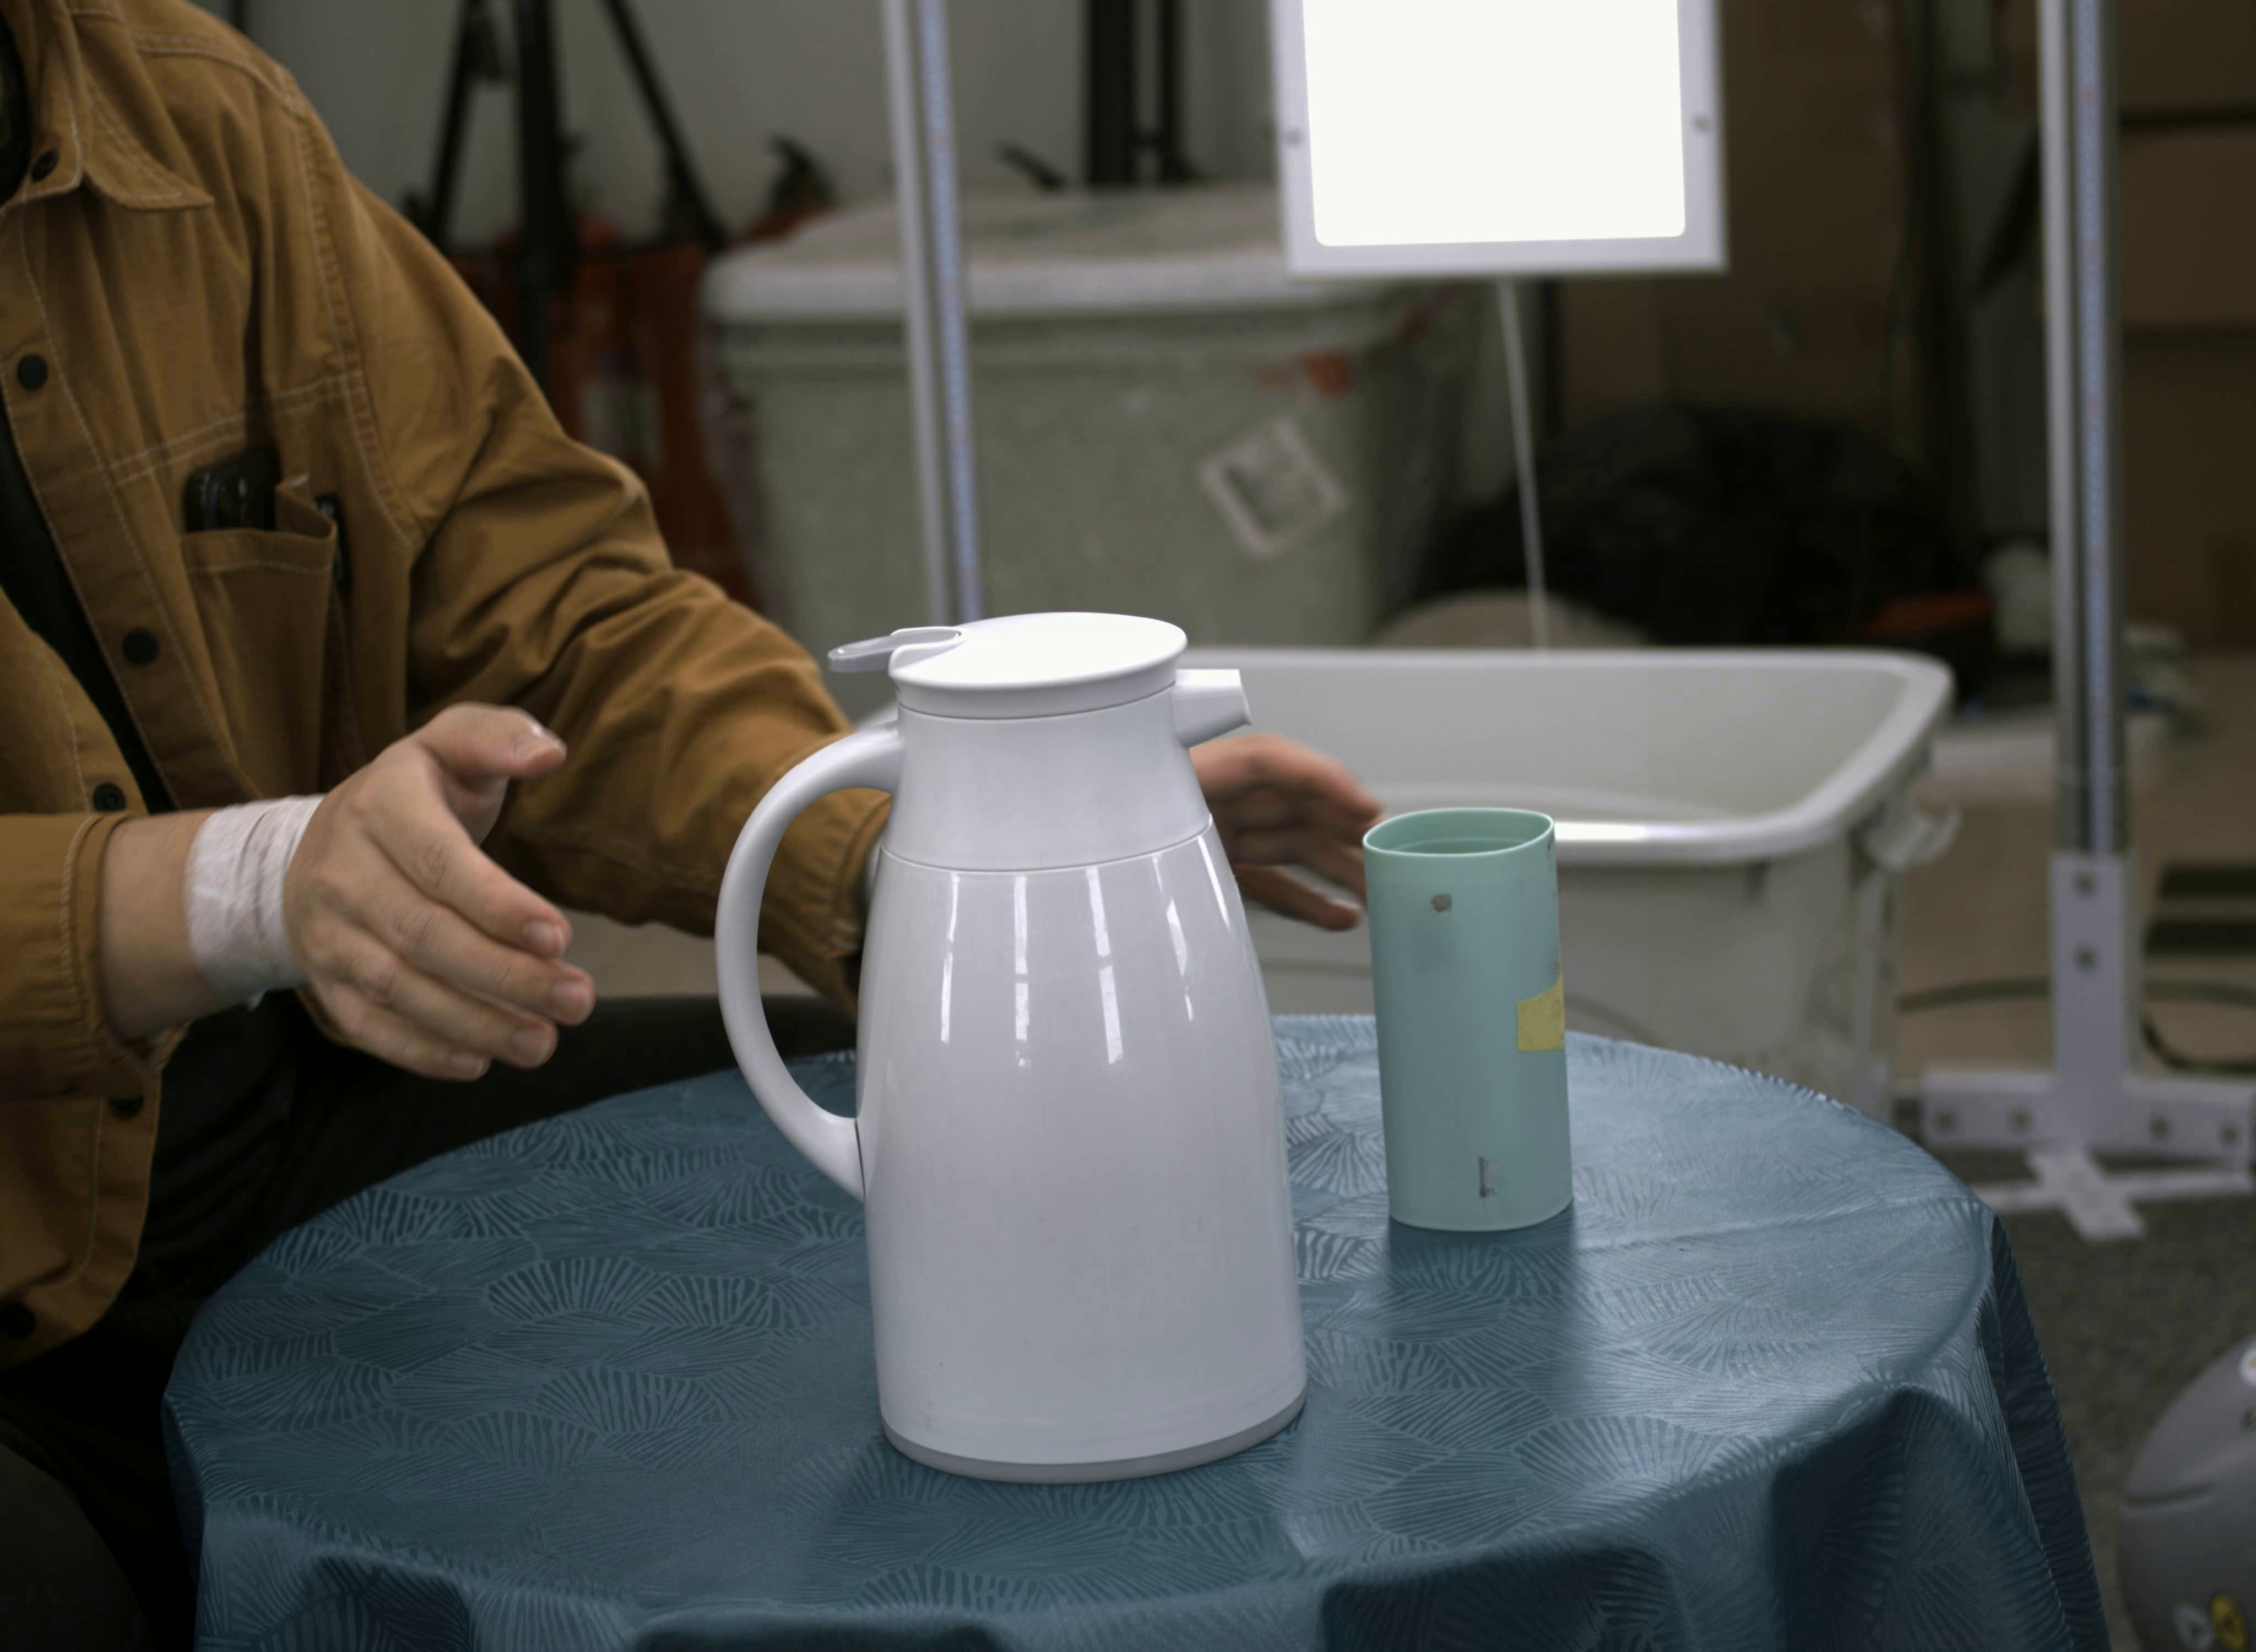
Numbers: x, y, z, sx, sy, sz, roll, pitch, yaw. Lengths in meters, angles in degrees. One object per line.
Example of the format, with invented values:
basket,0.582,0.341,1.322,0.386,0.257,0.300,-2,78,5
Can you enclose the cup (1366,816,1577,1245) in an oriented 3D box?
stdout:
cup,0.115,0.067,1.837,0.066,0.133,0.066,-4,13,0

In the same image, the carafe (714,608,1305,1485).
carafe,-0.039,0.061,1.659,0.167,0.249,0.132,-5,14,1
